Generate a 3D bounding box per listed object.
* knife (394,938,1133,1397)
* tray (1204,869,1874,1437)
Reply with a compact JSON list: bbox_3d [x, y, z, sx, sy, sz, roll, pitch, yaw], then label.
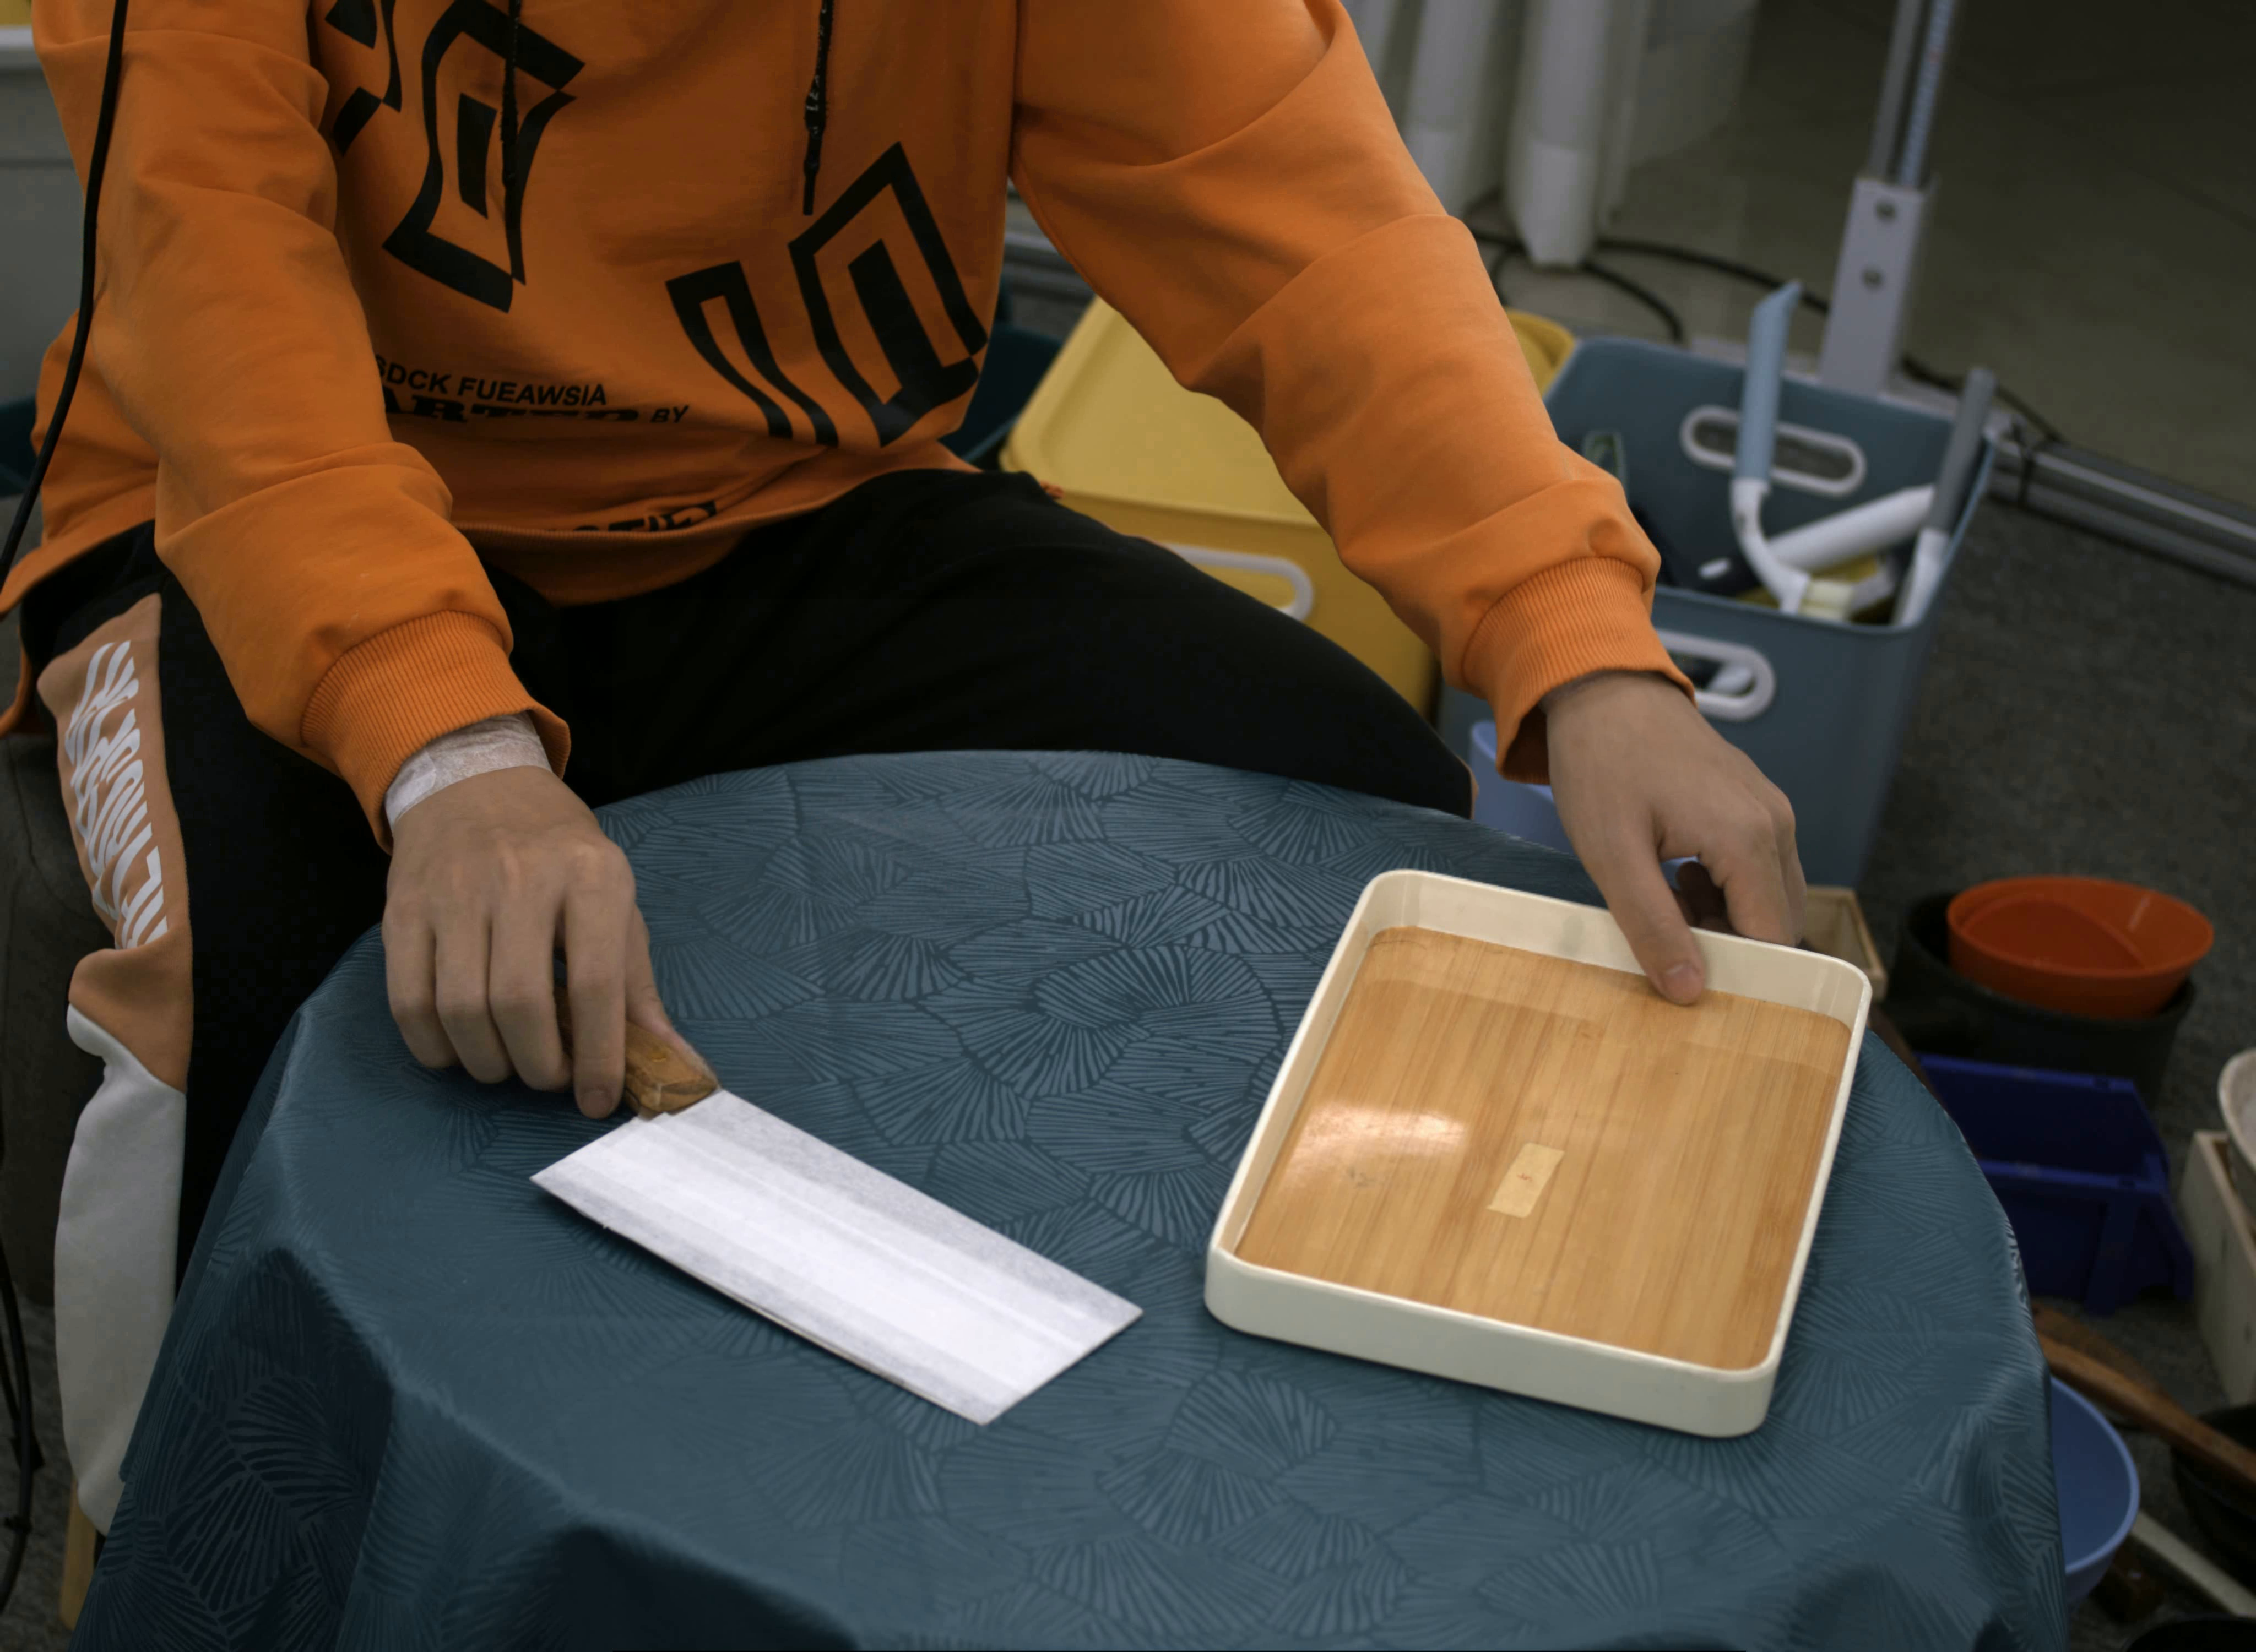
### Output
[{"bbox_3d":[-0.141,0.115,1.771,0.307,0.021,0.092,25,34,28],"label":"knife"},{"bbox_3d":[0.148,0.107,1.838,0.191,0.027,0.301,11,28,10],"label":"tray"}]
